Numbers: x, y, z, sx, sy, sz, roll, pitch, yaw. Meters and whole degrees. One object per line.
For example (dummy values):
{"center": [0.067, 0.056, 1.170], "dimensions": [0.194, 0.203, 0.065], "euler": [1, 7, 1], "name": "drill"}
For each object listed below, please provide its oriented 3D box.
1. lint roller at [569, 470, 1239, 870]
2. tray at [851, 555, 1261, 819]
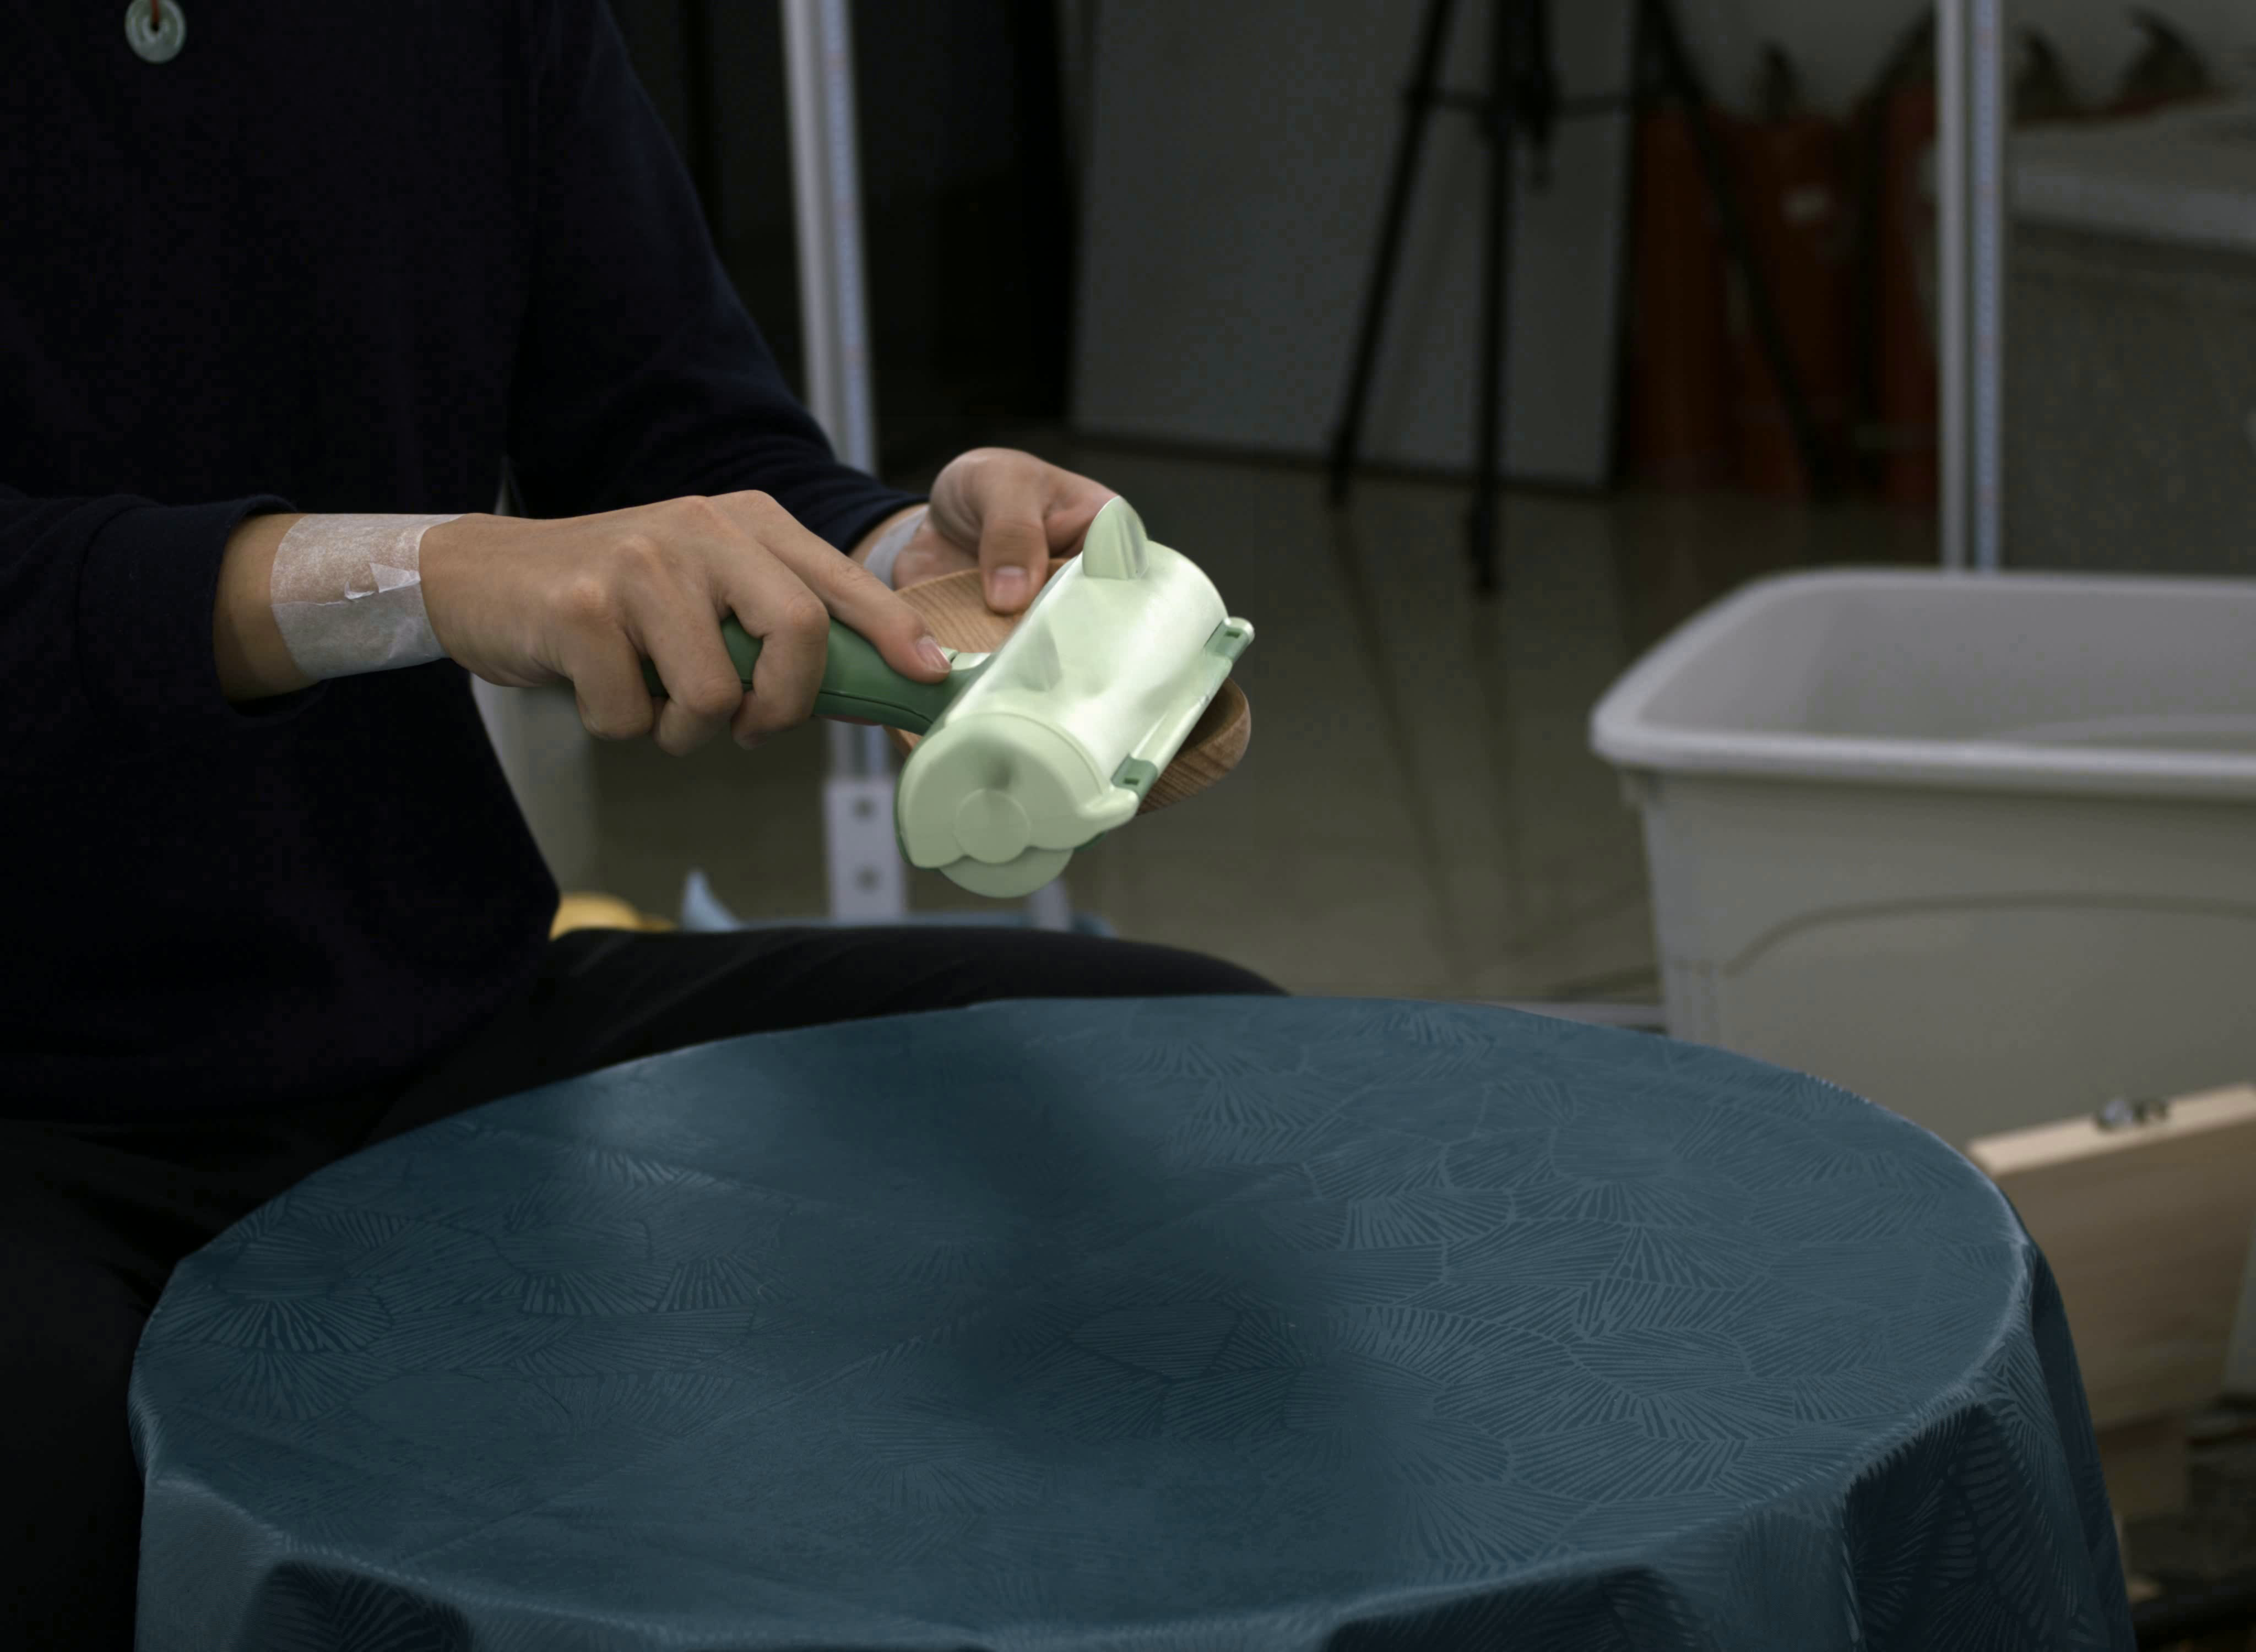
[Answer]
{"center": [-0.068, -0.066, 1.554], "dimensions": [0.182, 0.083, 0.197], "euler": [21, 20, 6], "name": "lint roller"}
{"center": [-0.026, -0.045, 1.665], "dimensions": [0.100, 0.020, 0.233], "euler": [-15, 21, -10], "name": "tray"}
